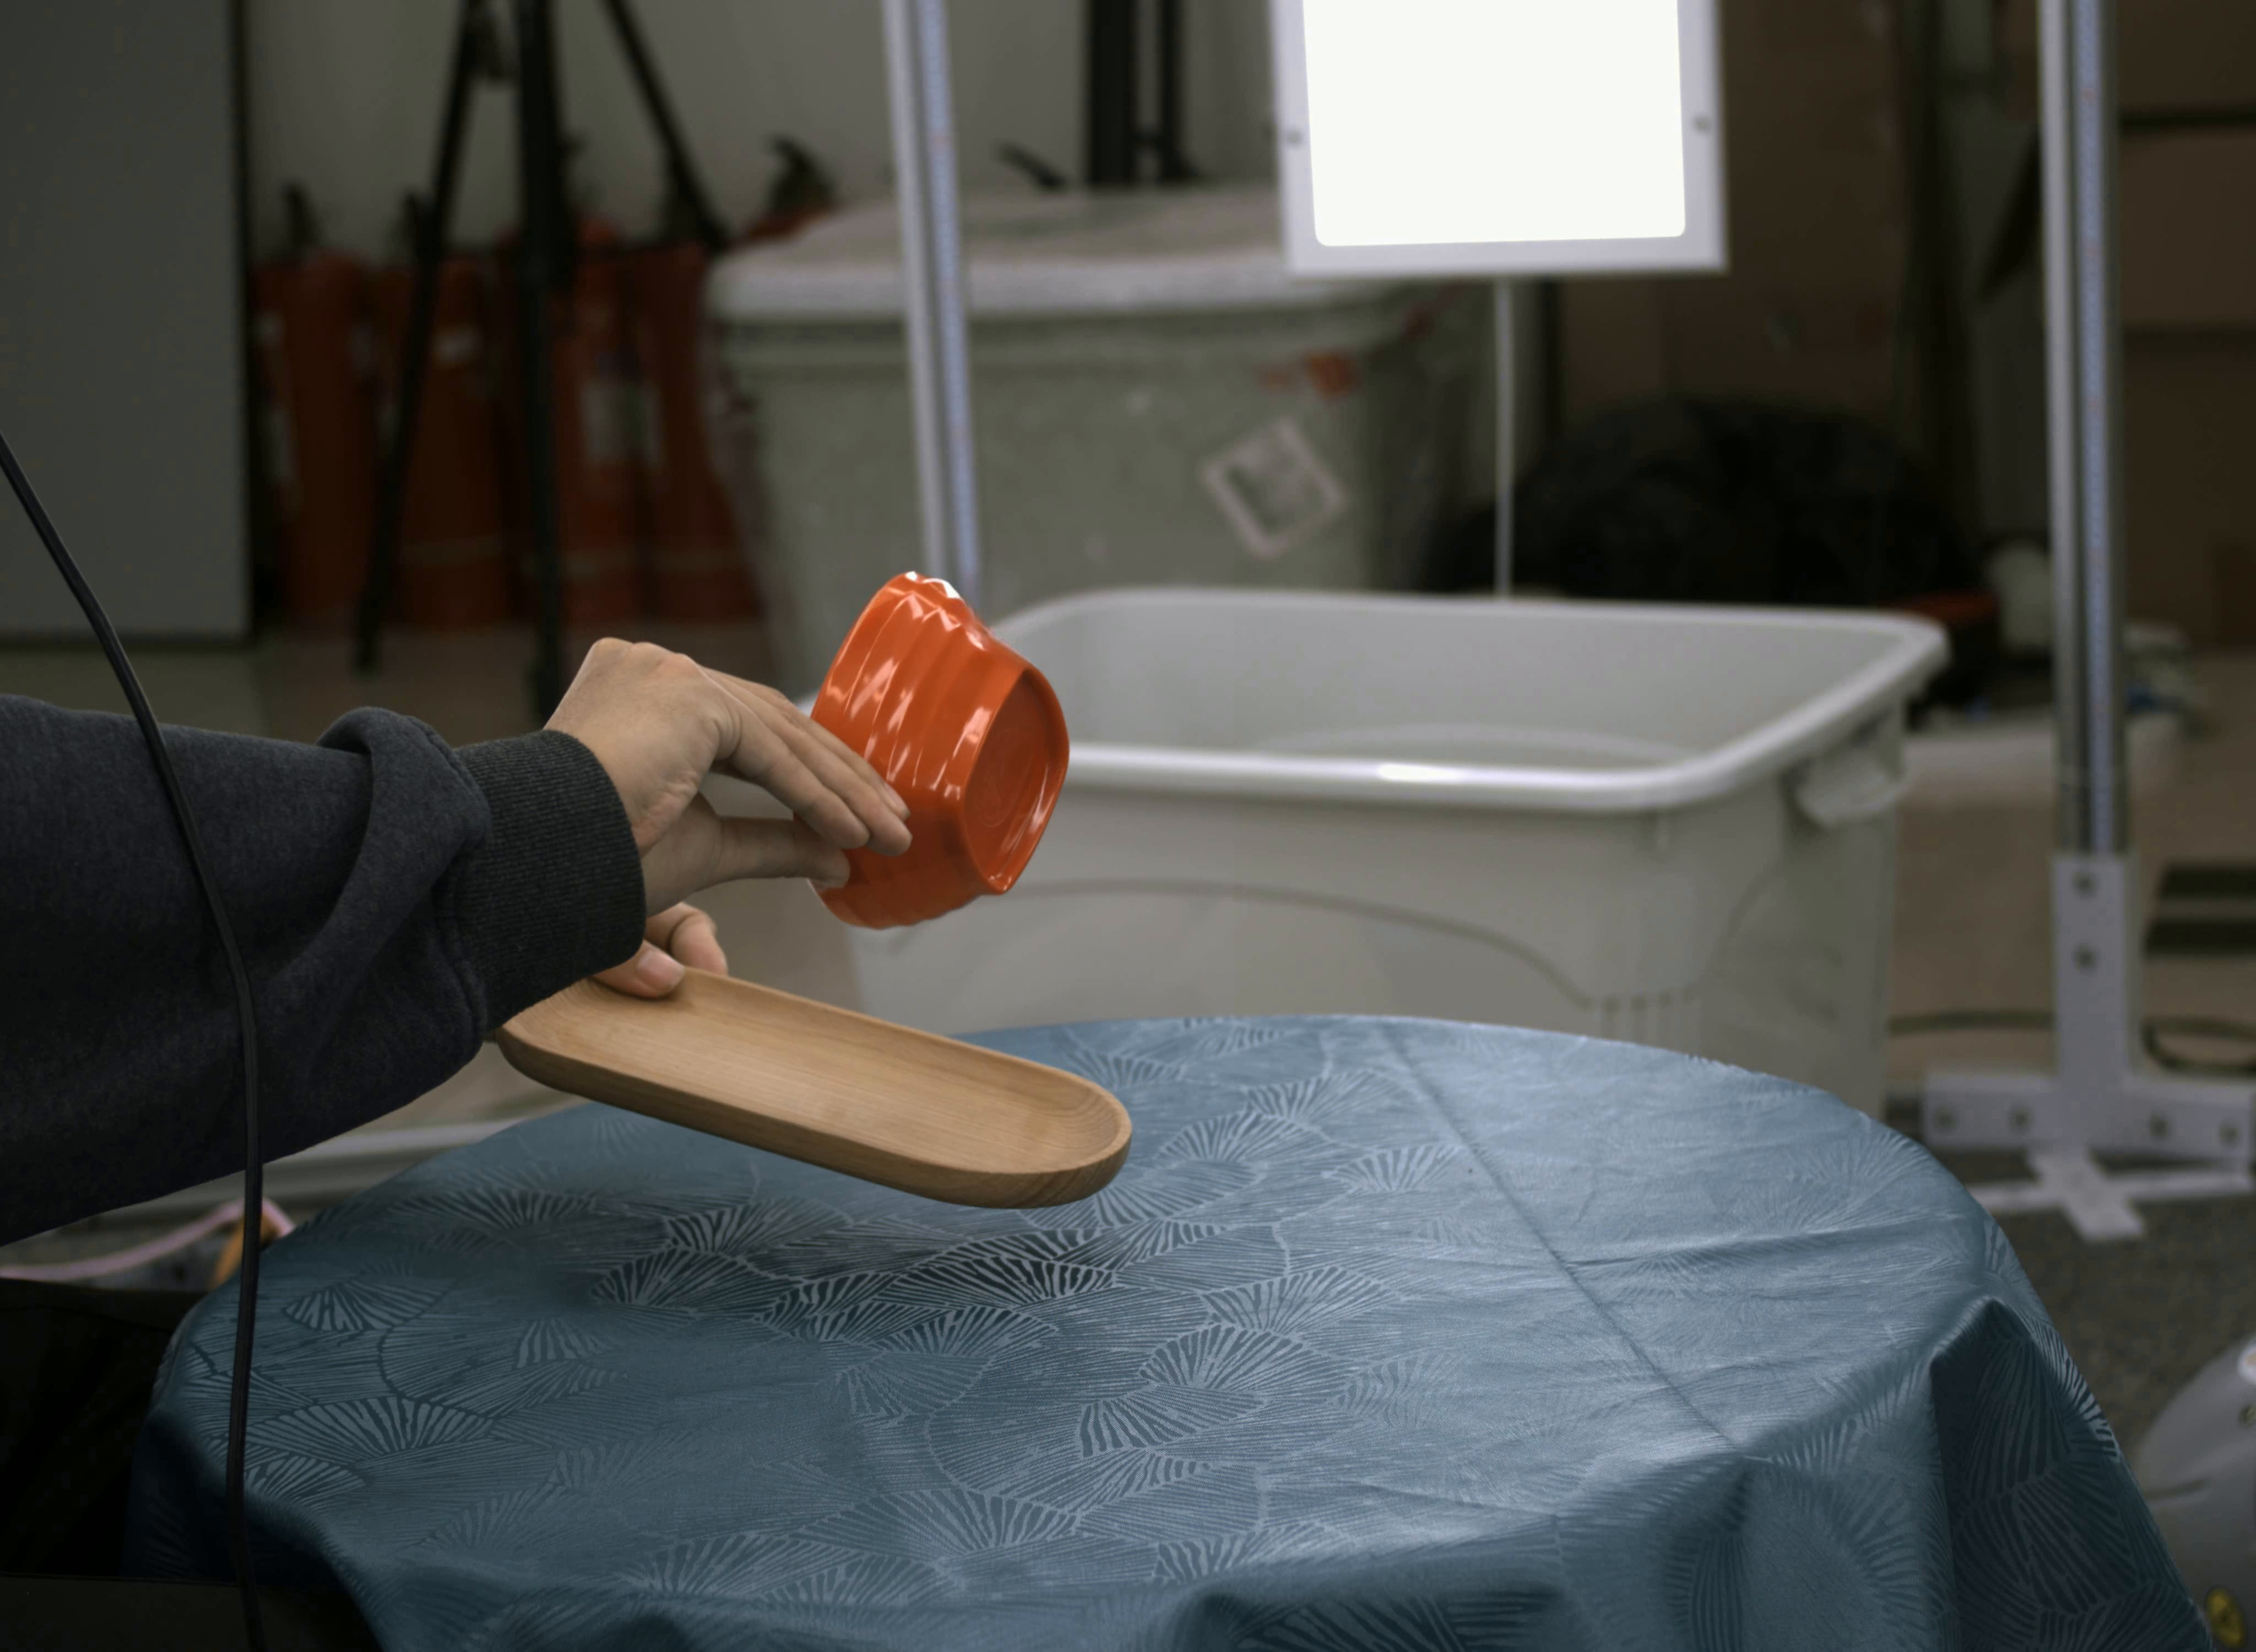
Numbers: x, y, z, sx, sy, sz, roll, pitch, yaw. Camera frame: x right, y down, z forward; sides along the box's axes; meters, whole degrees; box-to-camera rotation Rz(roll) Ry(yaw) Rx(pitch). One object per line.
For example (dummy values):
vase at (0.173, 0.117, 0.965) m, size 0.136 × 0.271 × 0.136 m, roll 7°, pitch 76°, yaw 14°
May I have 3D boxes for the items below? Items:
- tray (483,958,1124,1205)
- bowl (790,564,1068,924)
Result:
tray at (-0.110, 0.085, 1.847) m, size 0.234 × 0.020 × 0.099 m, roll 13°, pitch 19°, yaw 24°
bowl at (-0.058, -0.021, 1.770) m, size 0.052 × 0.120 × 0.116 m, roll 15°, pitch 21°, yaw 23°
